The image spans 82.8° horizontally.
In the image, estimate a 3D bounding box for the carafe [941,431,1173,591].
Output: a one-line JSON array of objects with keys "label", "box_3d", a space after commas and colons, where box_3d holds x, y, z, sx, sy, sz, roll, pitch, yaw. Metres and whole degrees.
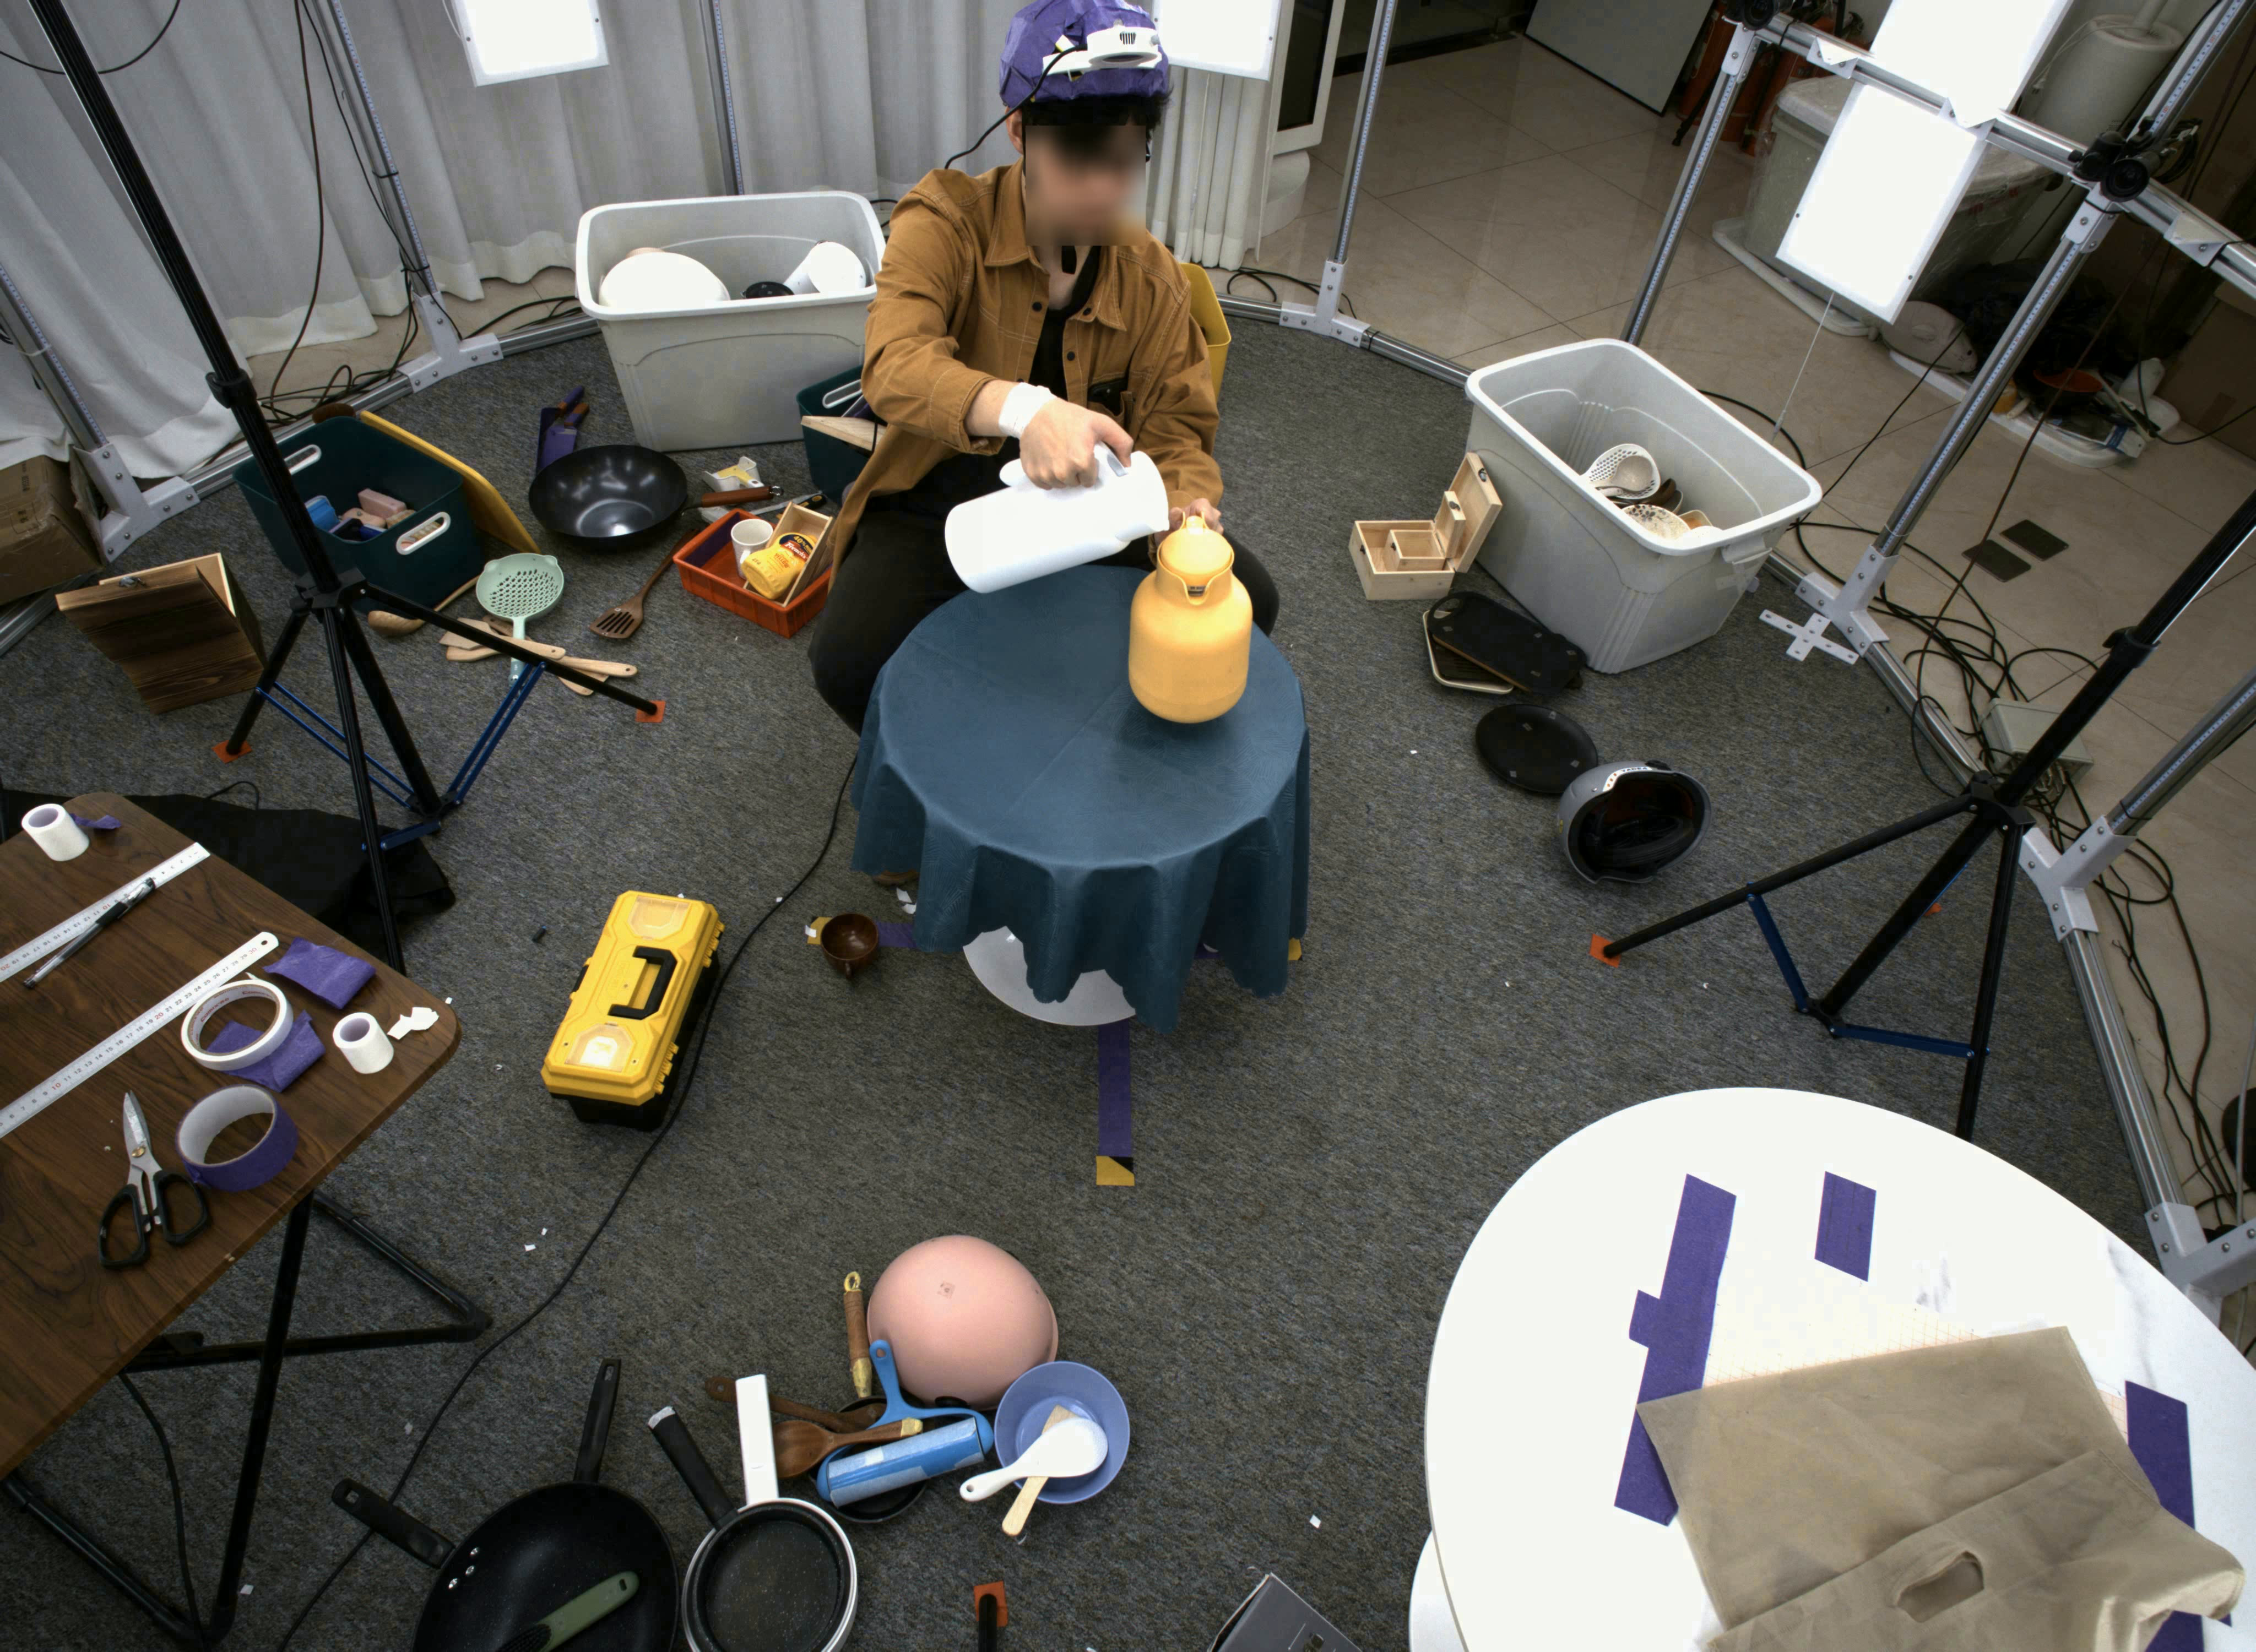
[{"label": "carafe", "box_3d": [-0.100, -0.382, 1.570, 0.269, 0.169, 0.126, -9, 59, 29]}]

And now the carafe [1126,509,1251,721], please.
[{"label": "carafe", "box_3d": [0.083, -0.286, 1.703, 0.163, 0.254, 0.207, 4, 52, 0]}]
